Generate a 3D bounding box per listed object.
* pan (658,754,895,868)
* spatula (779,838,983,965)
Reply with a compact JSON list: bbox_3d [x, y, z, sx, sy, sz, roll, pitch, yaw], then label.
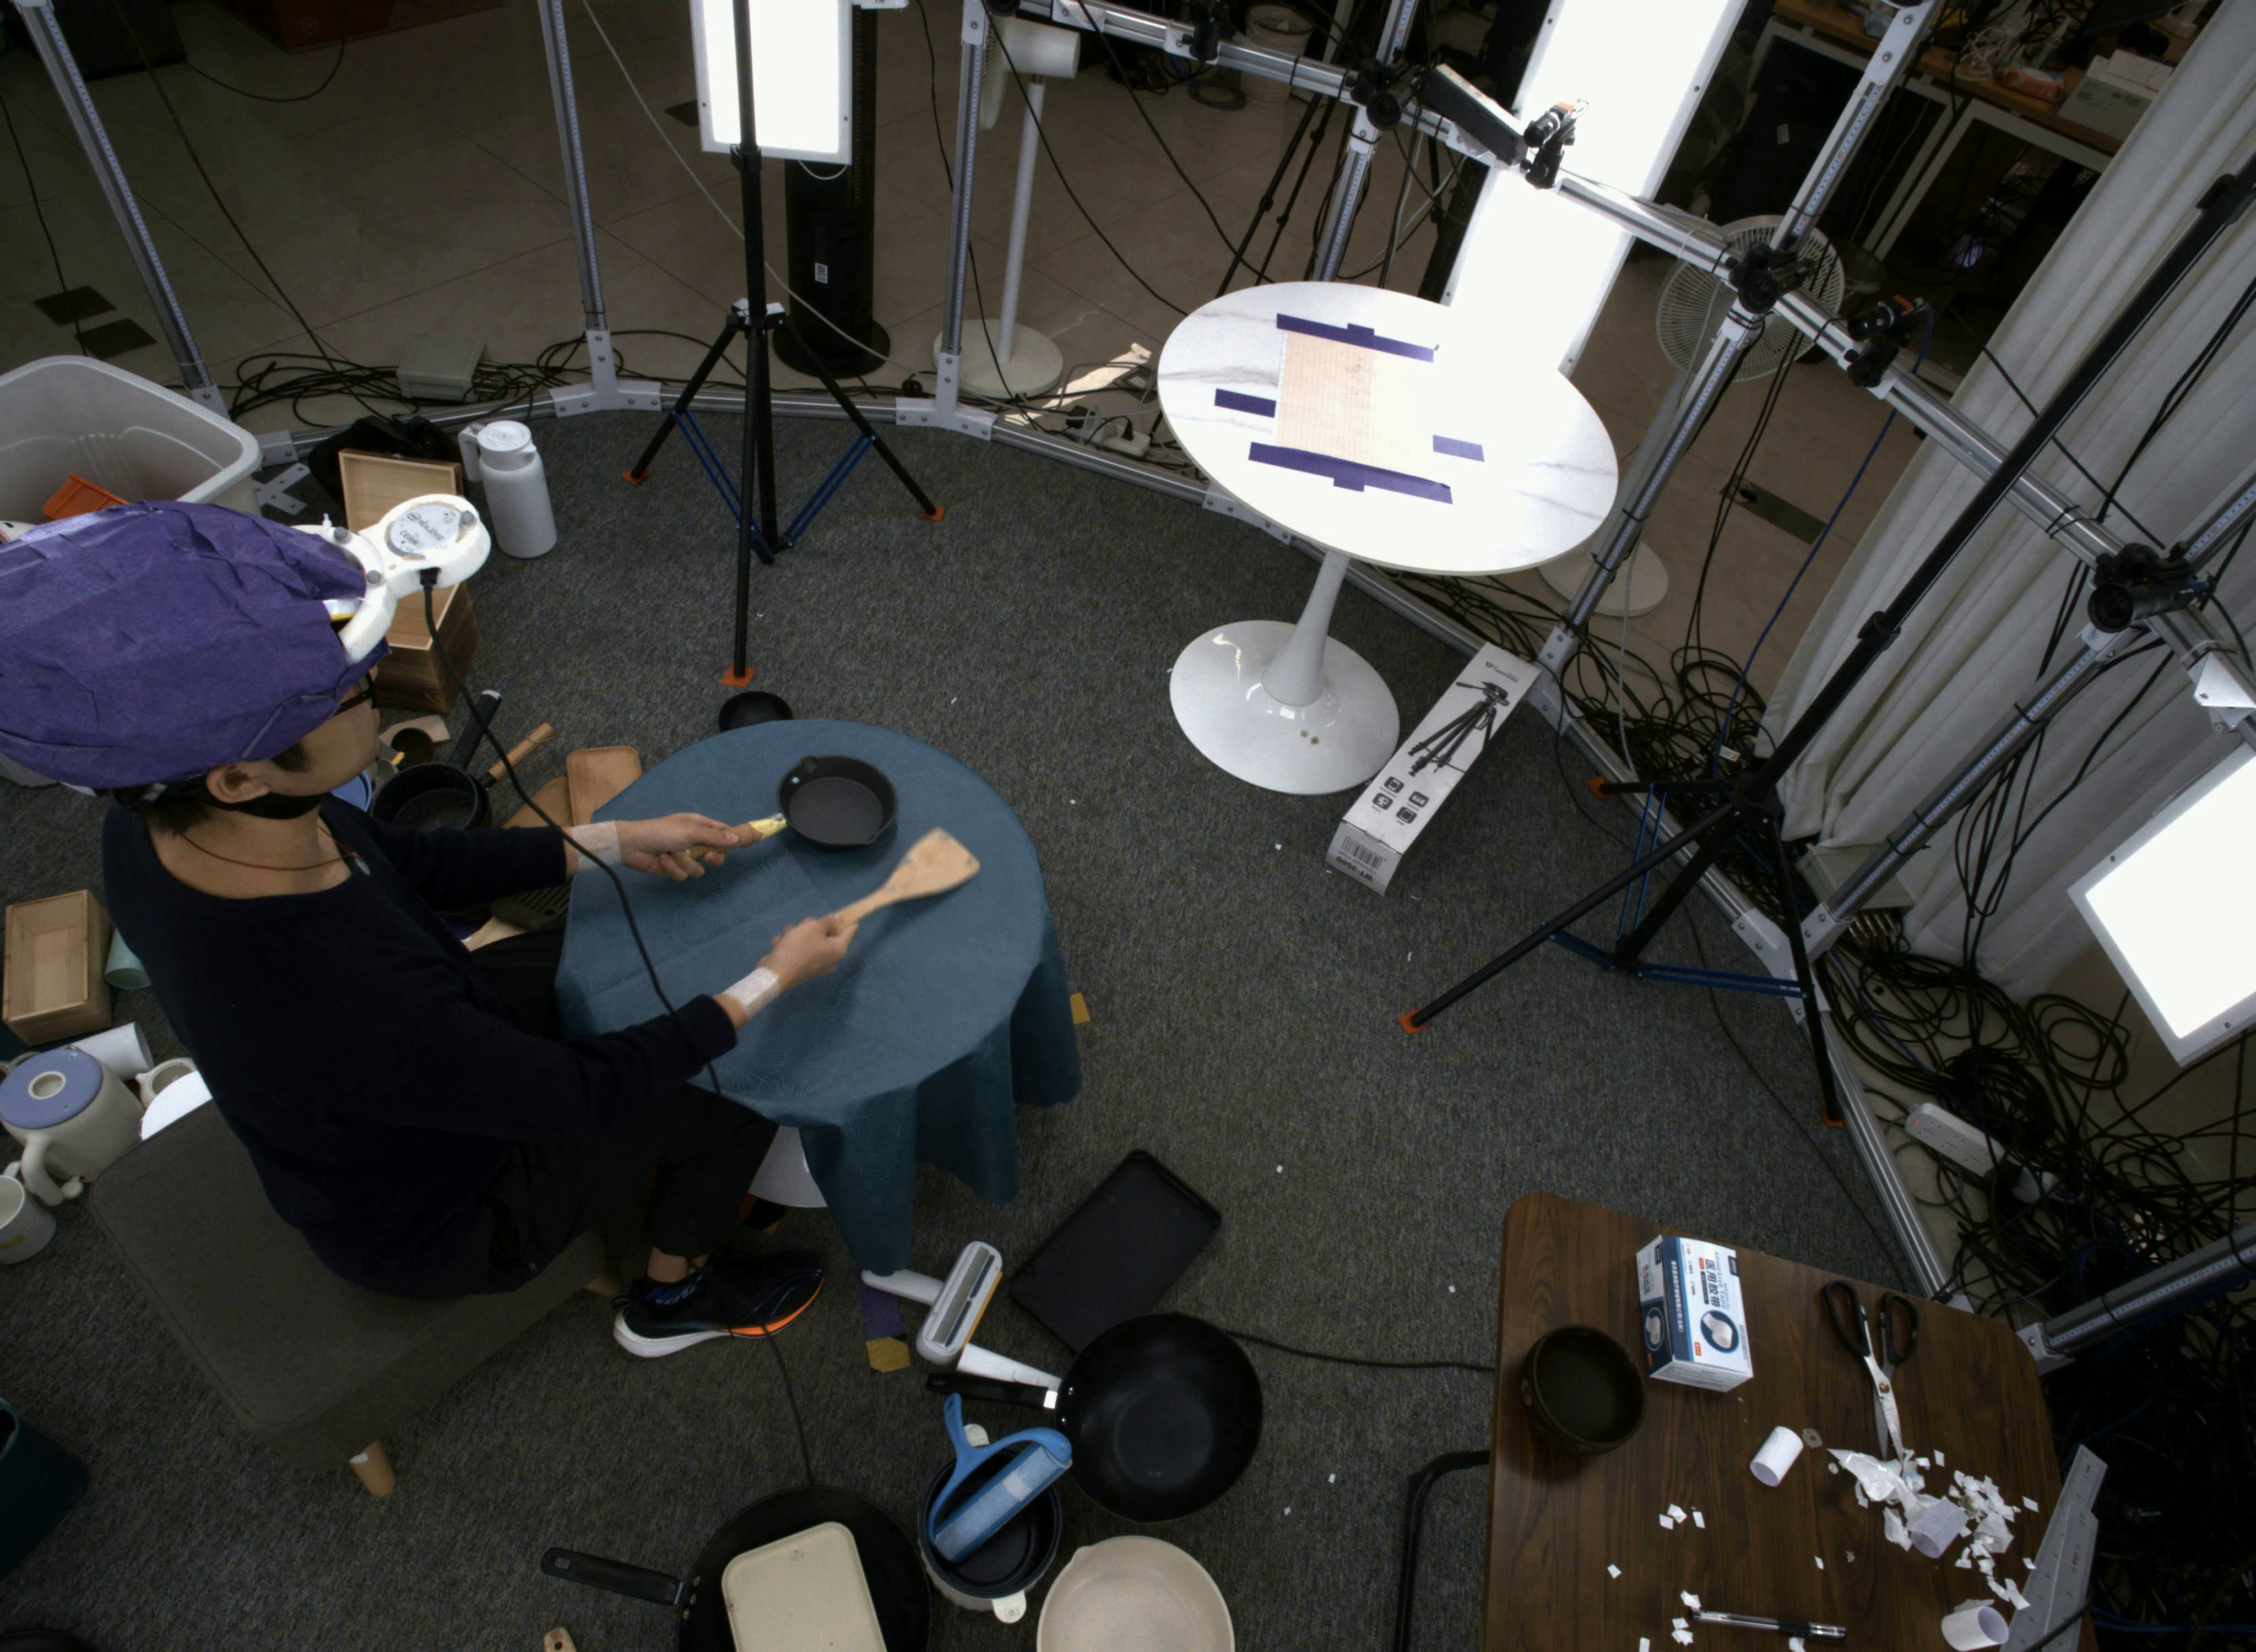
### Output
[{"bbox_3d":[-0.451,-0.005,1.663,0.326,0.050,0.165,-22,62,-35],"label":"pan"},{"bbox_3d":[-0.308,0.093,1.613,0.079,0.016,0.329,46,38,10],"label":"spatula"}]
